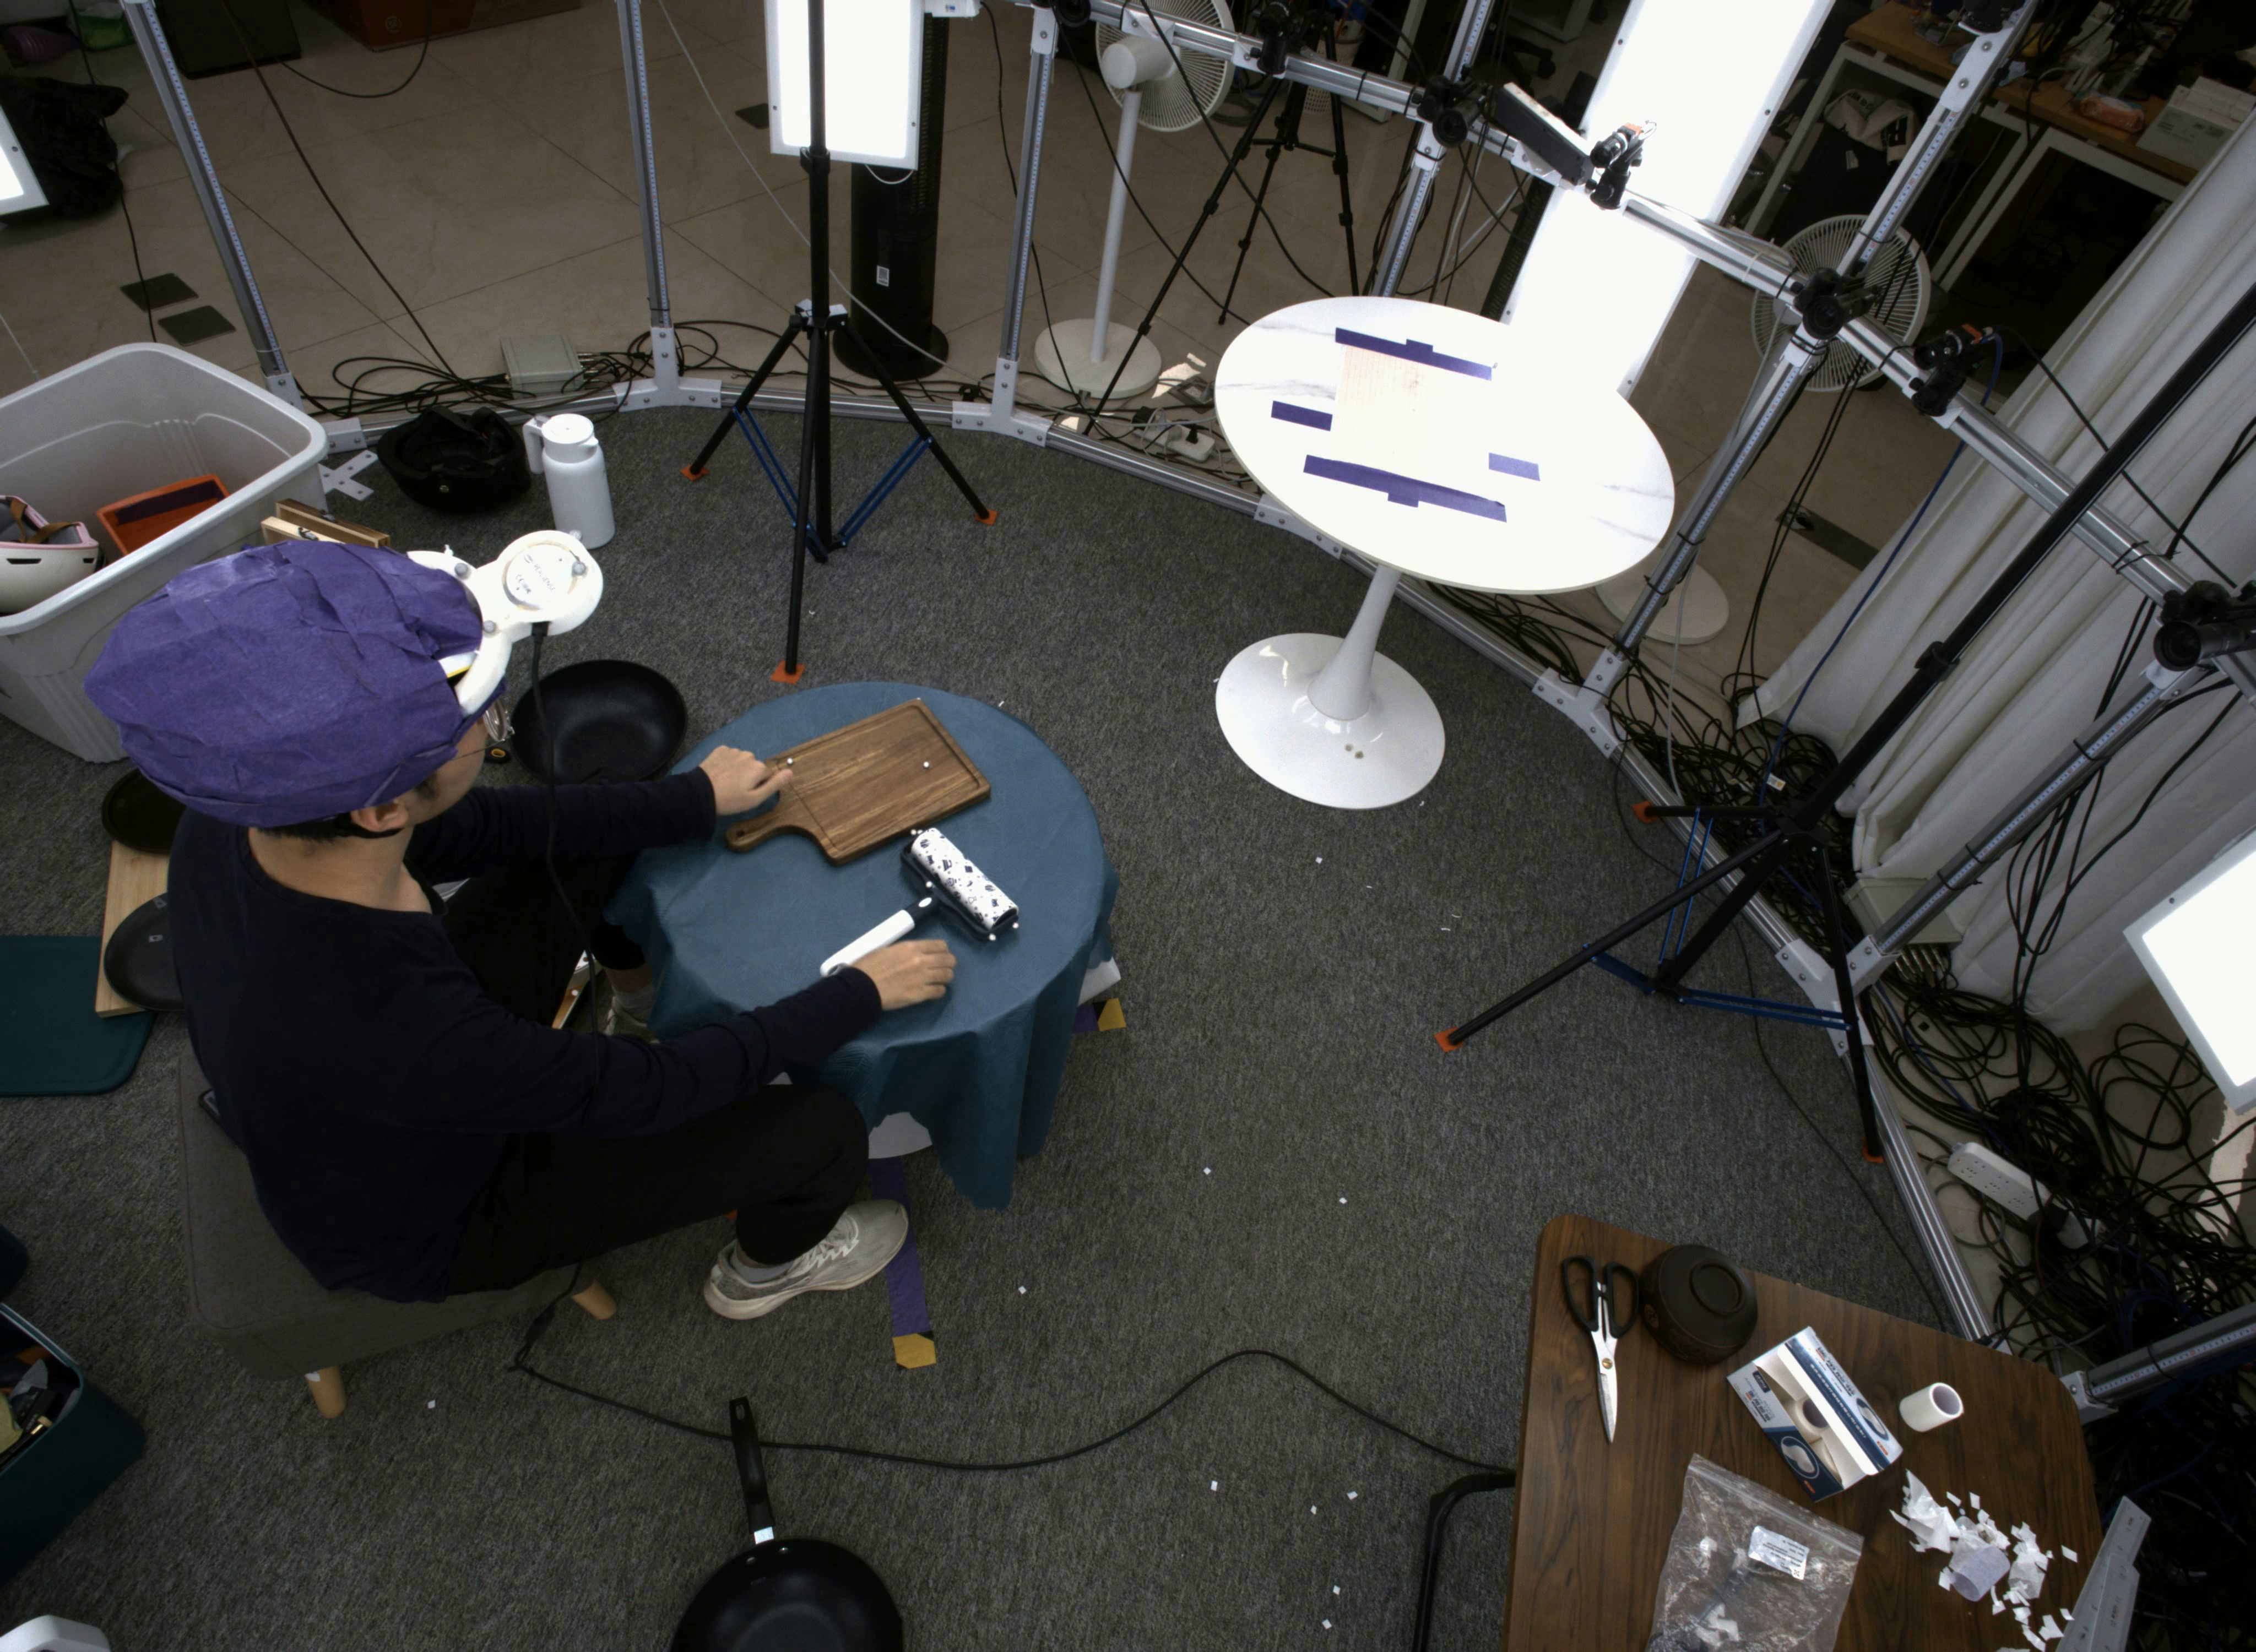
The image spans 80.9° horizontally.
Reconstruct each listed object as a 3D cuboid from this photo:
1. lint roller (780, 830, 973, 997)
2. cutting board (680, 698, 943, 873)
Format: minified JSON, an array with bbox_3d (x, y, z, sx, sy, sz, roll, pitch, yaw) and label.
[{"bbox_3d":[-0.337,0.126,1.638,0.173,0.051,0.247,40,57,15],"label":"lint roller"},{"bbox_3d":[-0.444,-0.040,1.746,0.353,0.023,0.196,-31,66,-31],"label":"cutting board"}]
